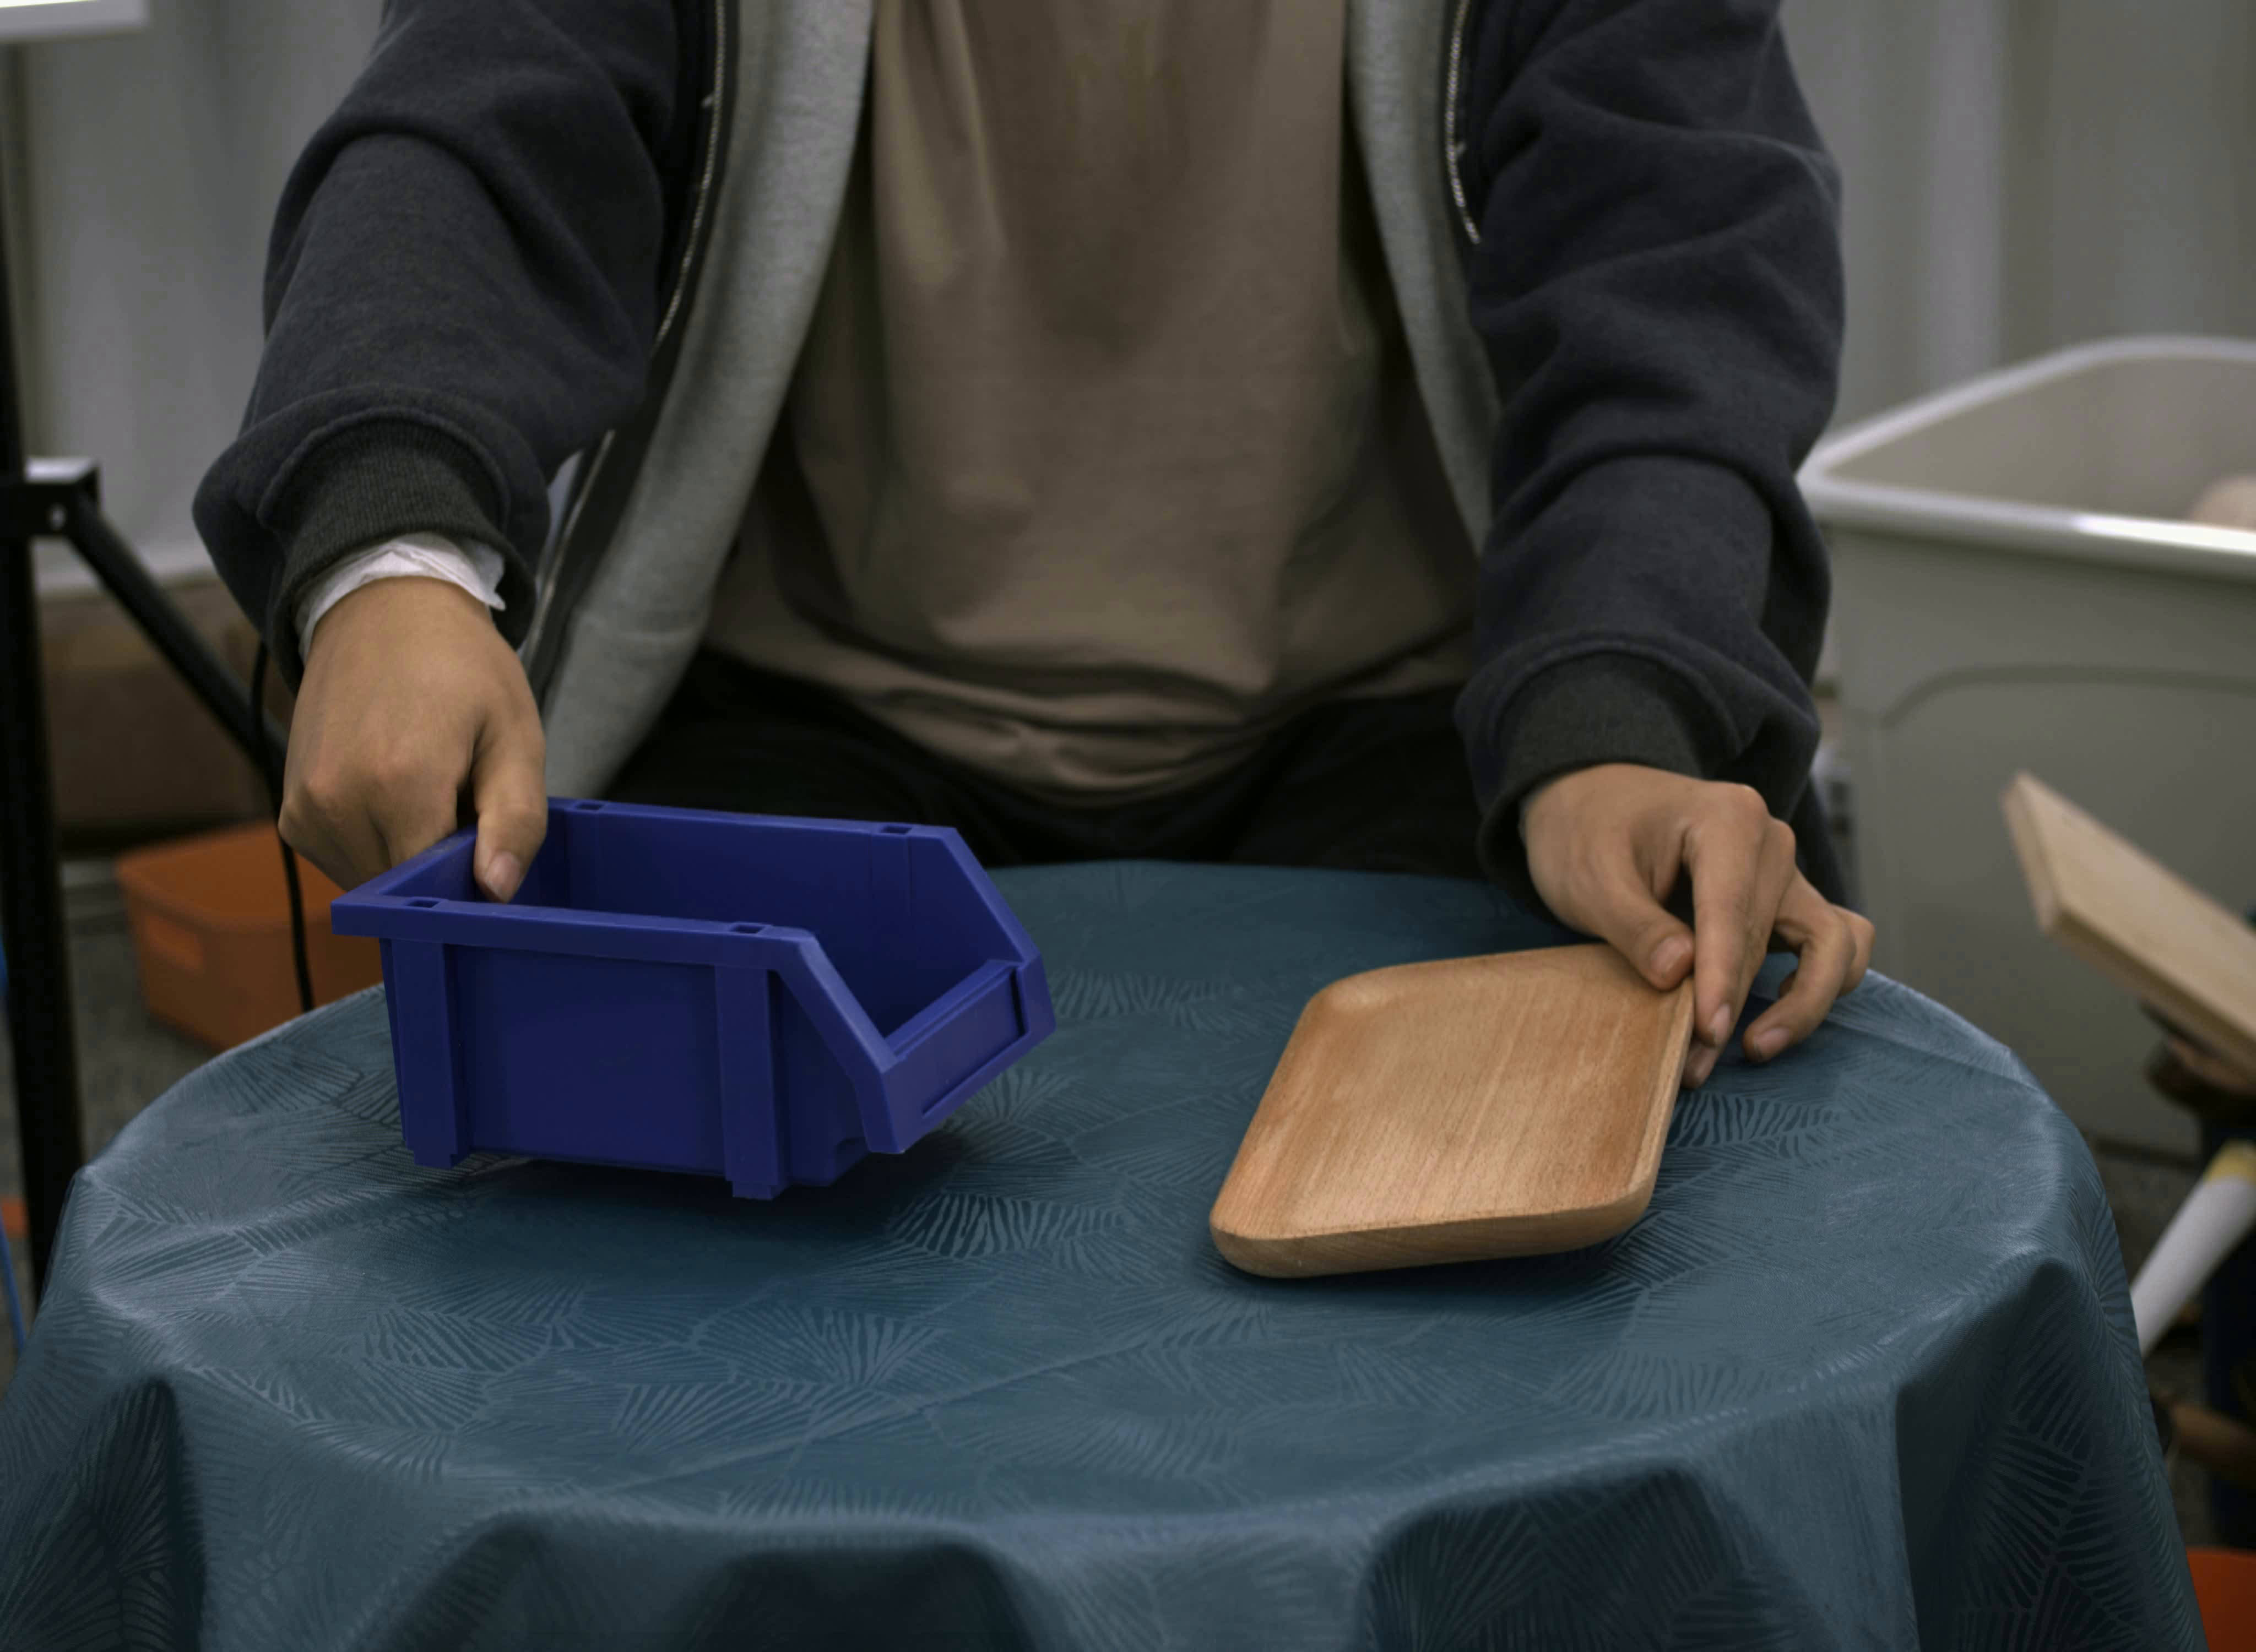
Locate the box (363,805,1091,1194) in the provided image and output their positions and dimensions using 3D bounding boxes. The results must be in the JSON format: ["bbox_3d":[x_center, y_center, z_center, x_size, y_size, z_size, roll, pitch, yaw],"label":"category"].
[{"bbox_3d":[-0.116,0.049,1.590,0.182,0.082,0.122,1,15,26],"label":"box"}]

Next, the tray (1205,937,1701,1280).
[{"bbox_3d":[0.101,0.082,1.577,0.131,0.023,0.249,-4,15,12],"label":"tray"}]
